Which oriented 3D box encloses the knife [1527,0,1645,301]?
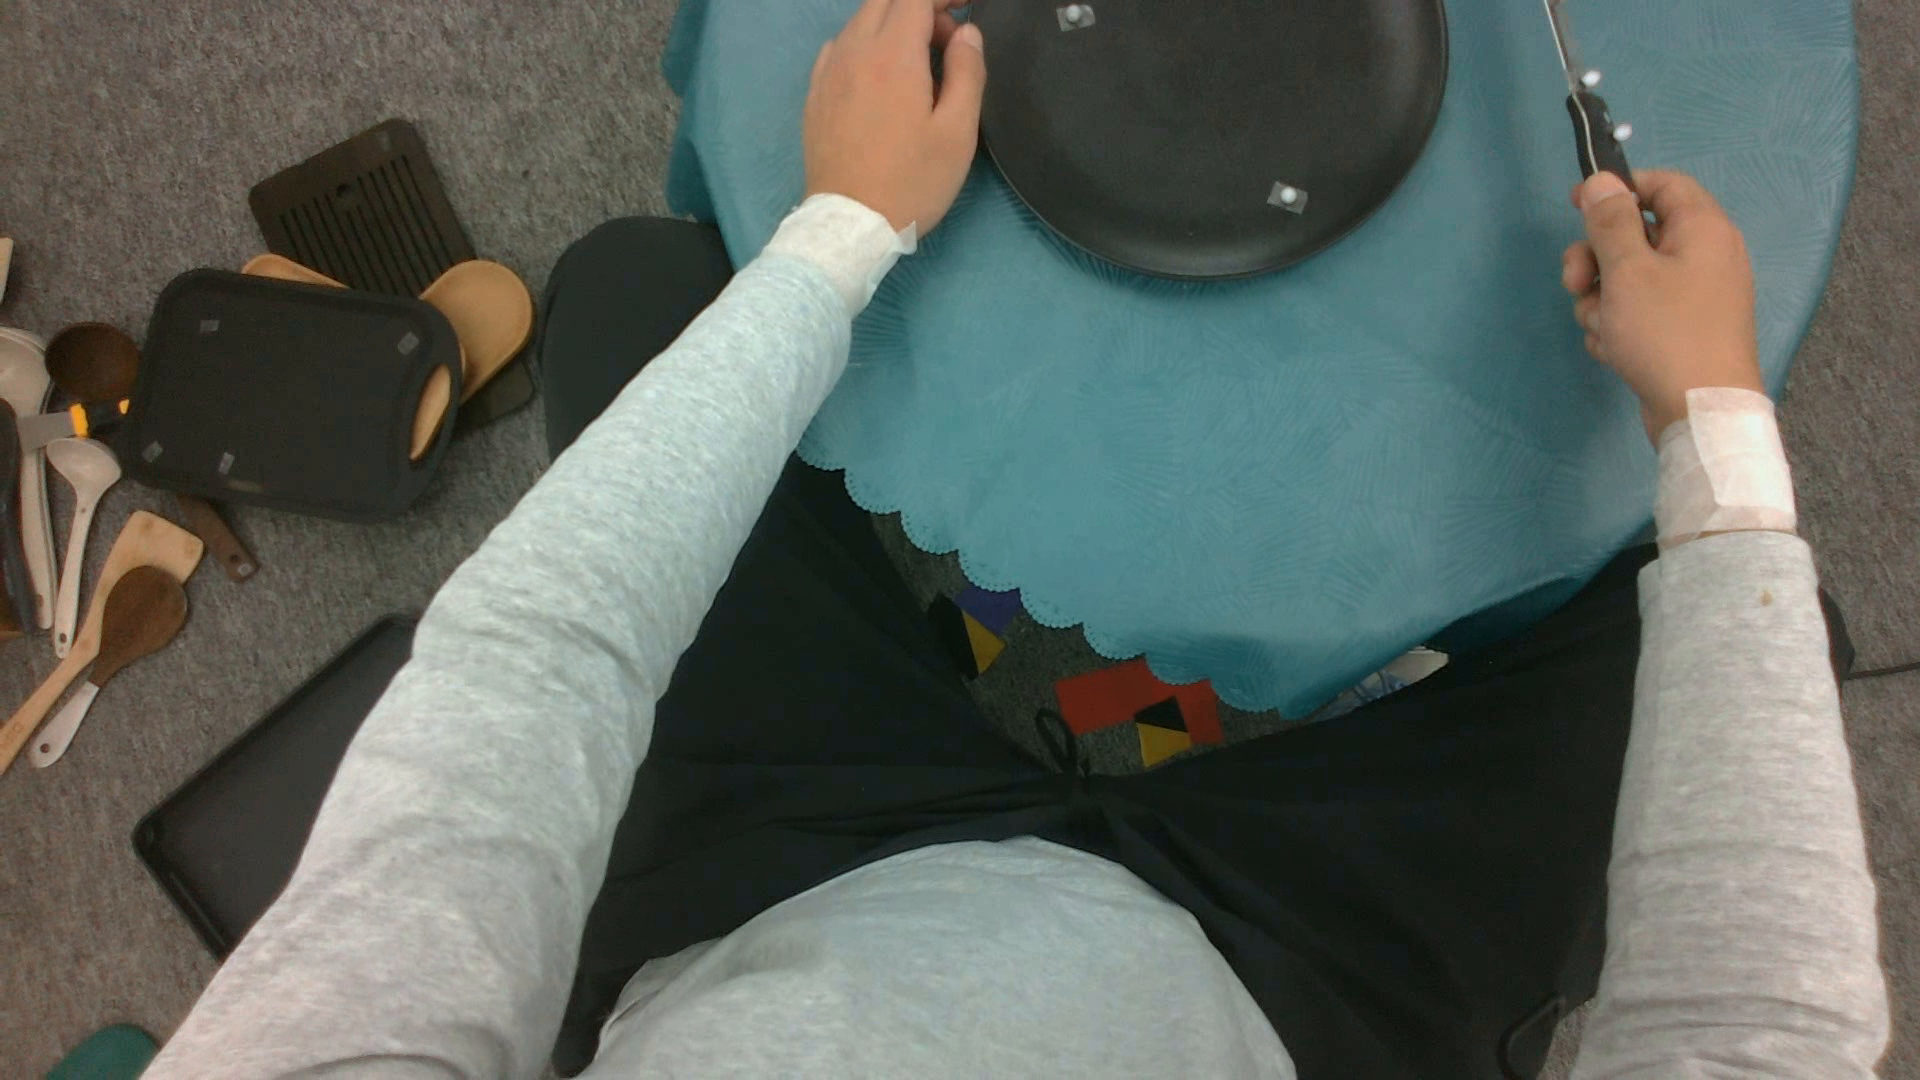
[{"bbox_3d":[0.285,-0.227,0.652,0.024,0.016,0.238,-10,83,-27],"label":"knife"}]

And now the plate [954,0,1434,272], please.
[{"bbox_3d":[0.119,-0.255,0.709,0.244,0.023,0.244,0,84,2],"label":"plate"}]
